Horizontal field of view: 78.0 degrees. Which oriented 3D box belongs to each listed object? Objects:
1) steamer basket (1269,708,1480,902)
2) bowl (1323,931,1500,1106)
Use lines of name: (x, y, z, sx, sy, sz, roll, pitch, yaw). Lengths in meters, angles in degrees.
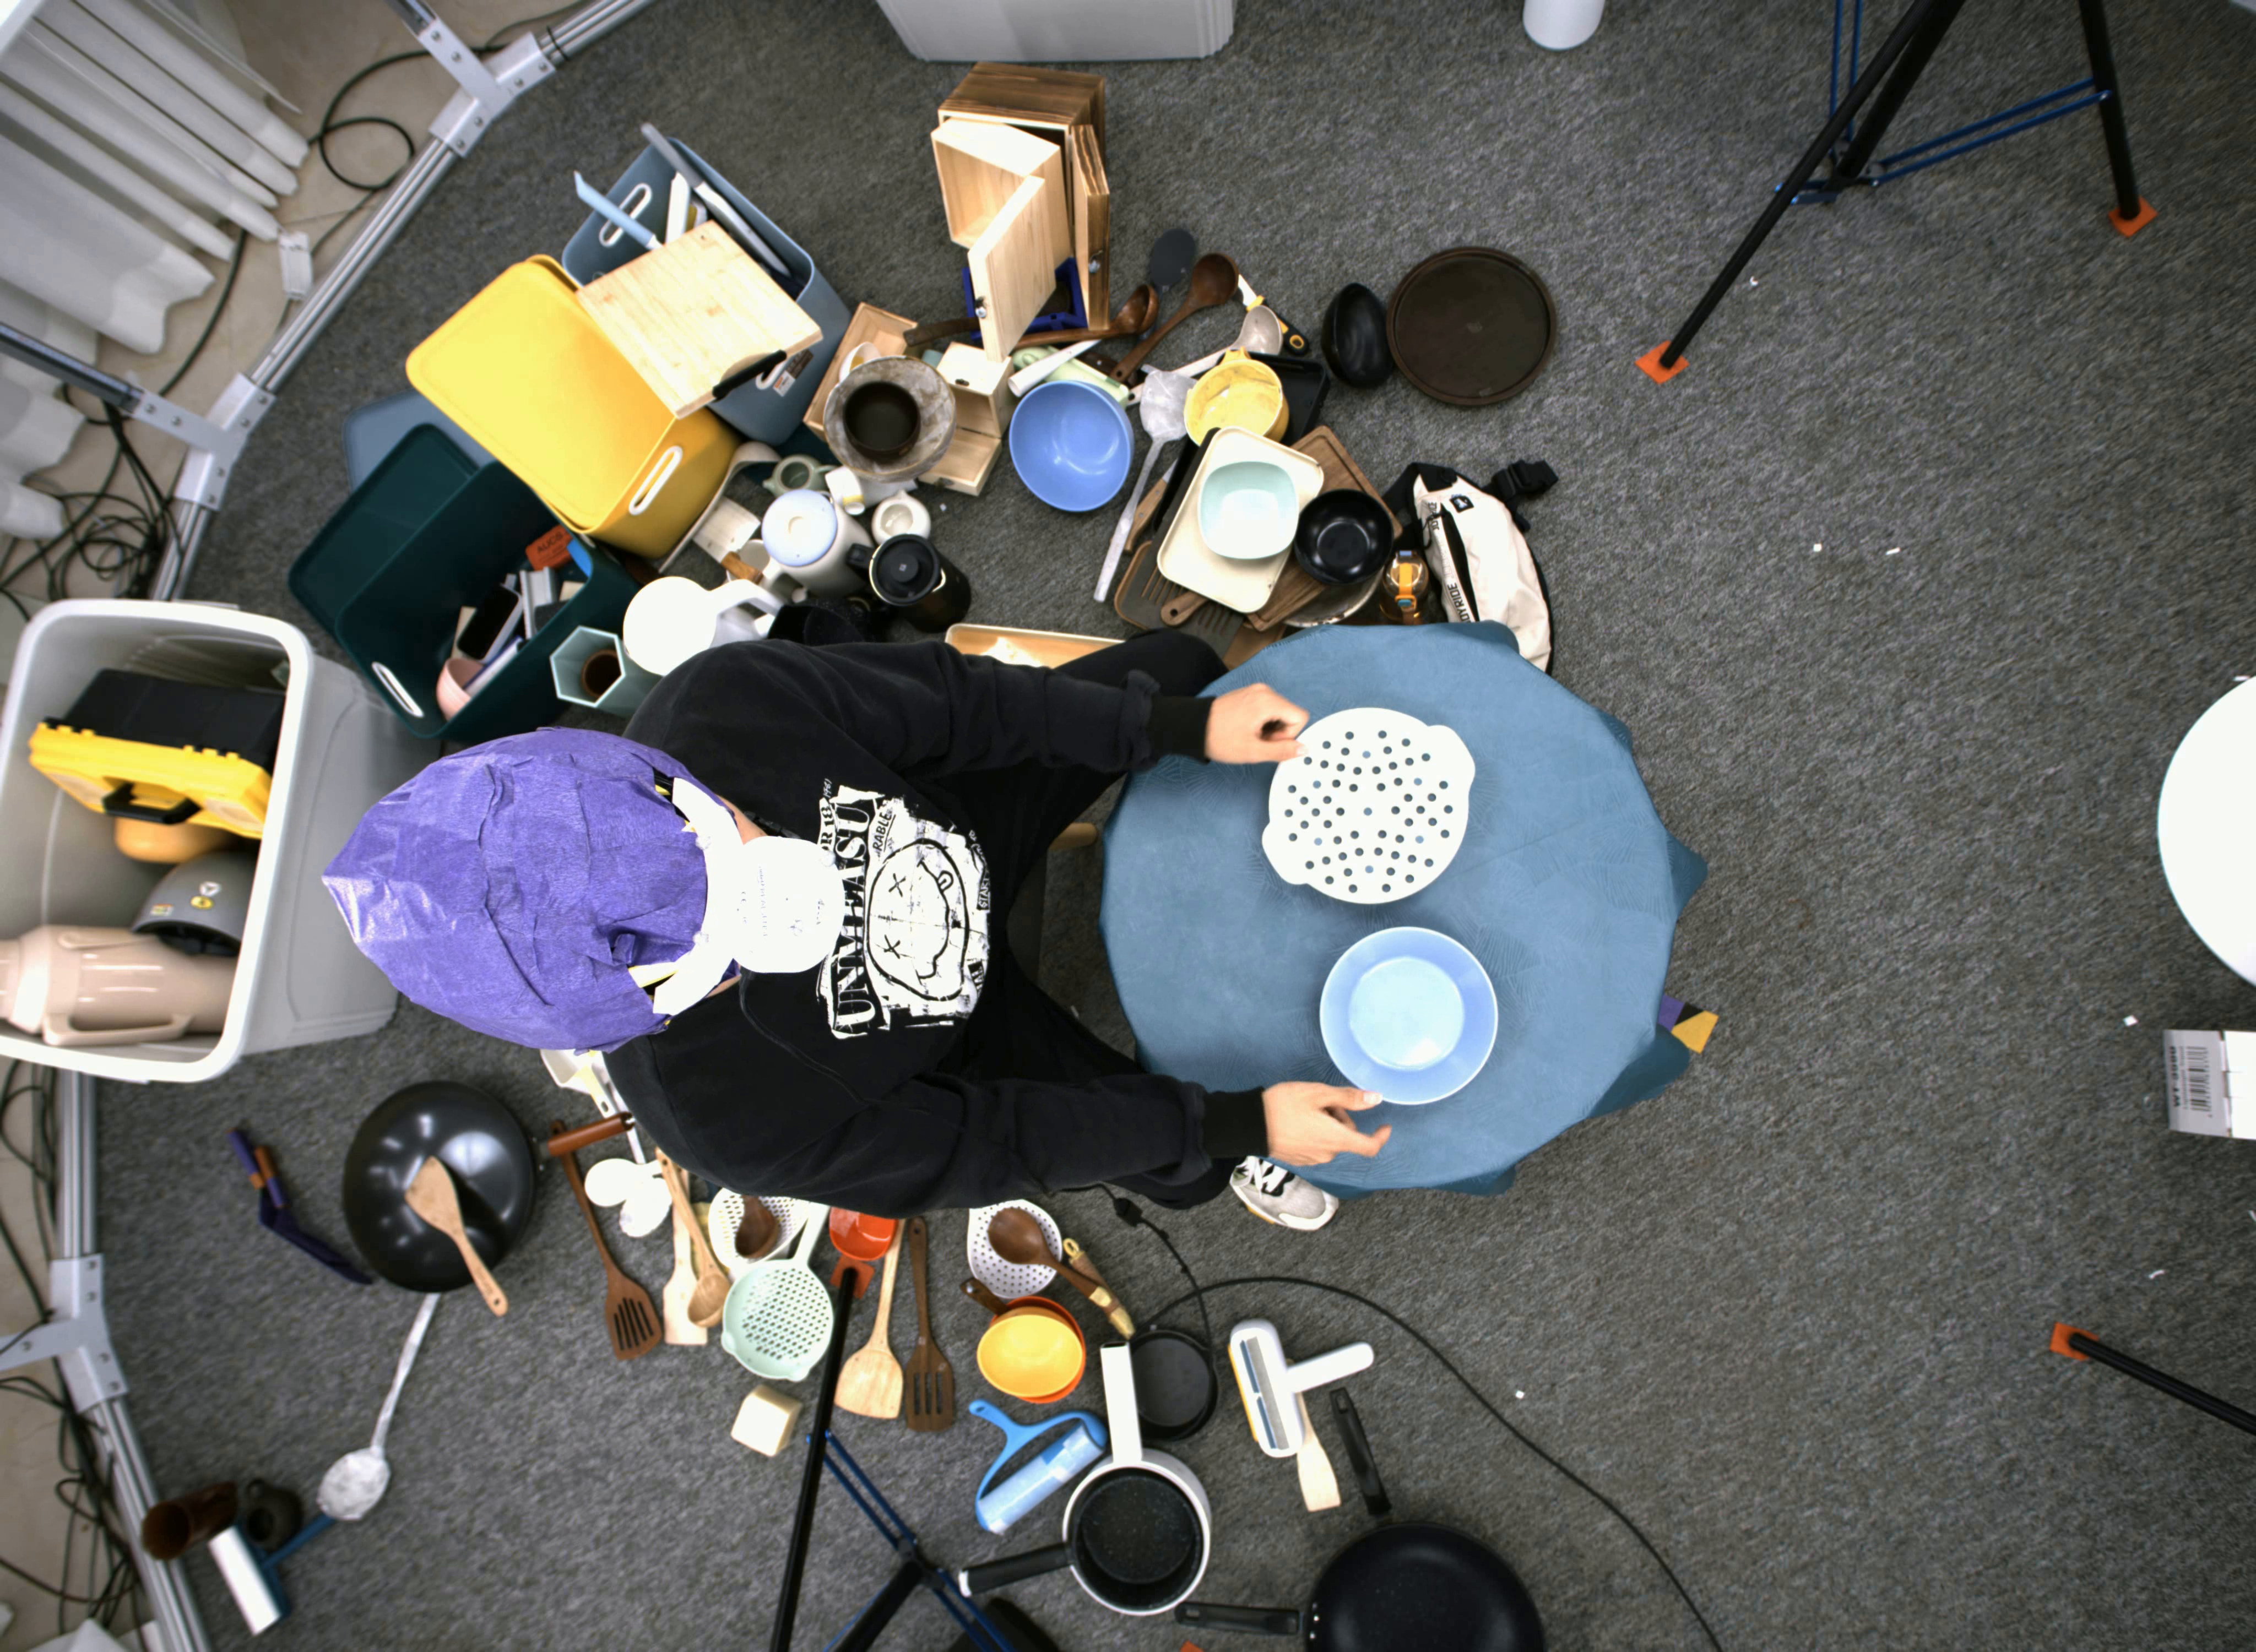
steamer basket: (0.256, -0.020, 1.439, 0.231, 0.069, 0.200, -32, 81, 4)
bowl: (0.289, 0.196, 1.417, 0.177, 0.070, 0.175, -1, 84, 11)
